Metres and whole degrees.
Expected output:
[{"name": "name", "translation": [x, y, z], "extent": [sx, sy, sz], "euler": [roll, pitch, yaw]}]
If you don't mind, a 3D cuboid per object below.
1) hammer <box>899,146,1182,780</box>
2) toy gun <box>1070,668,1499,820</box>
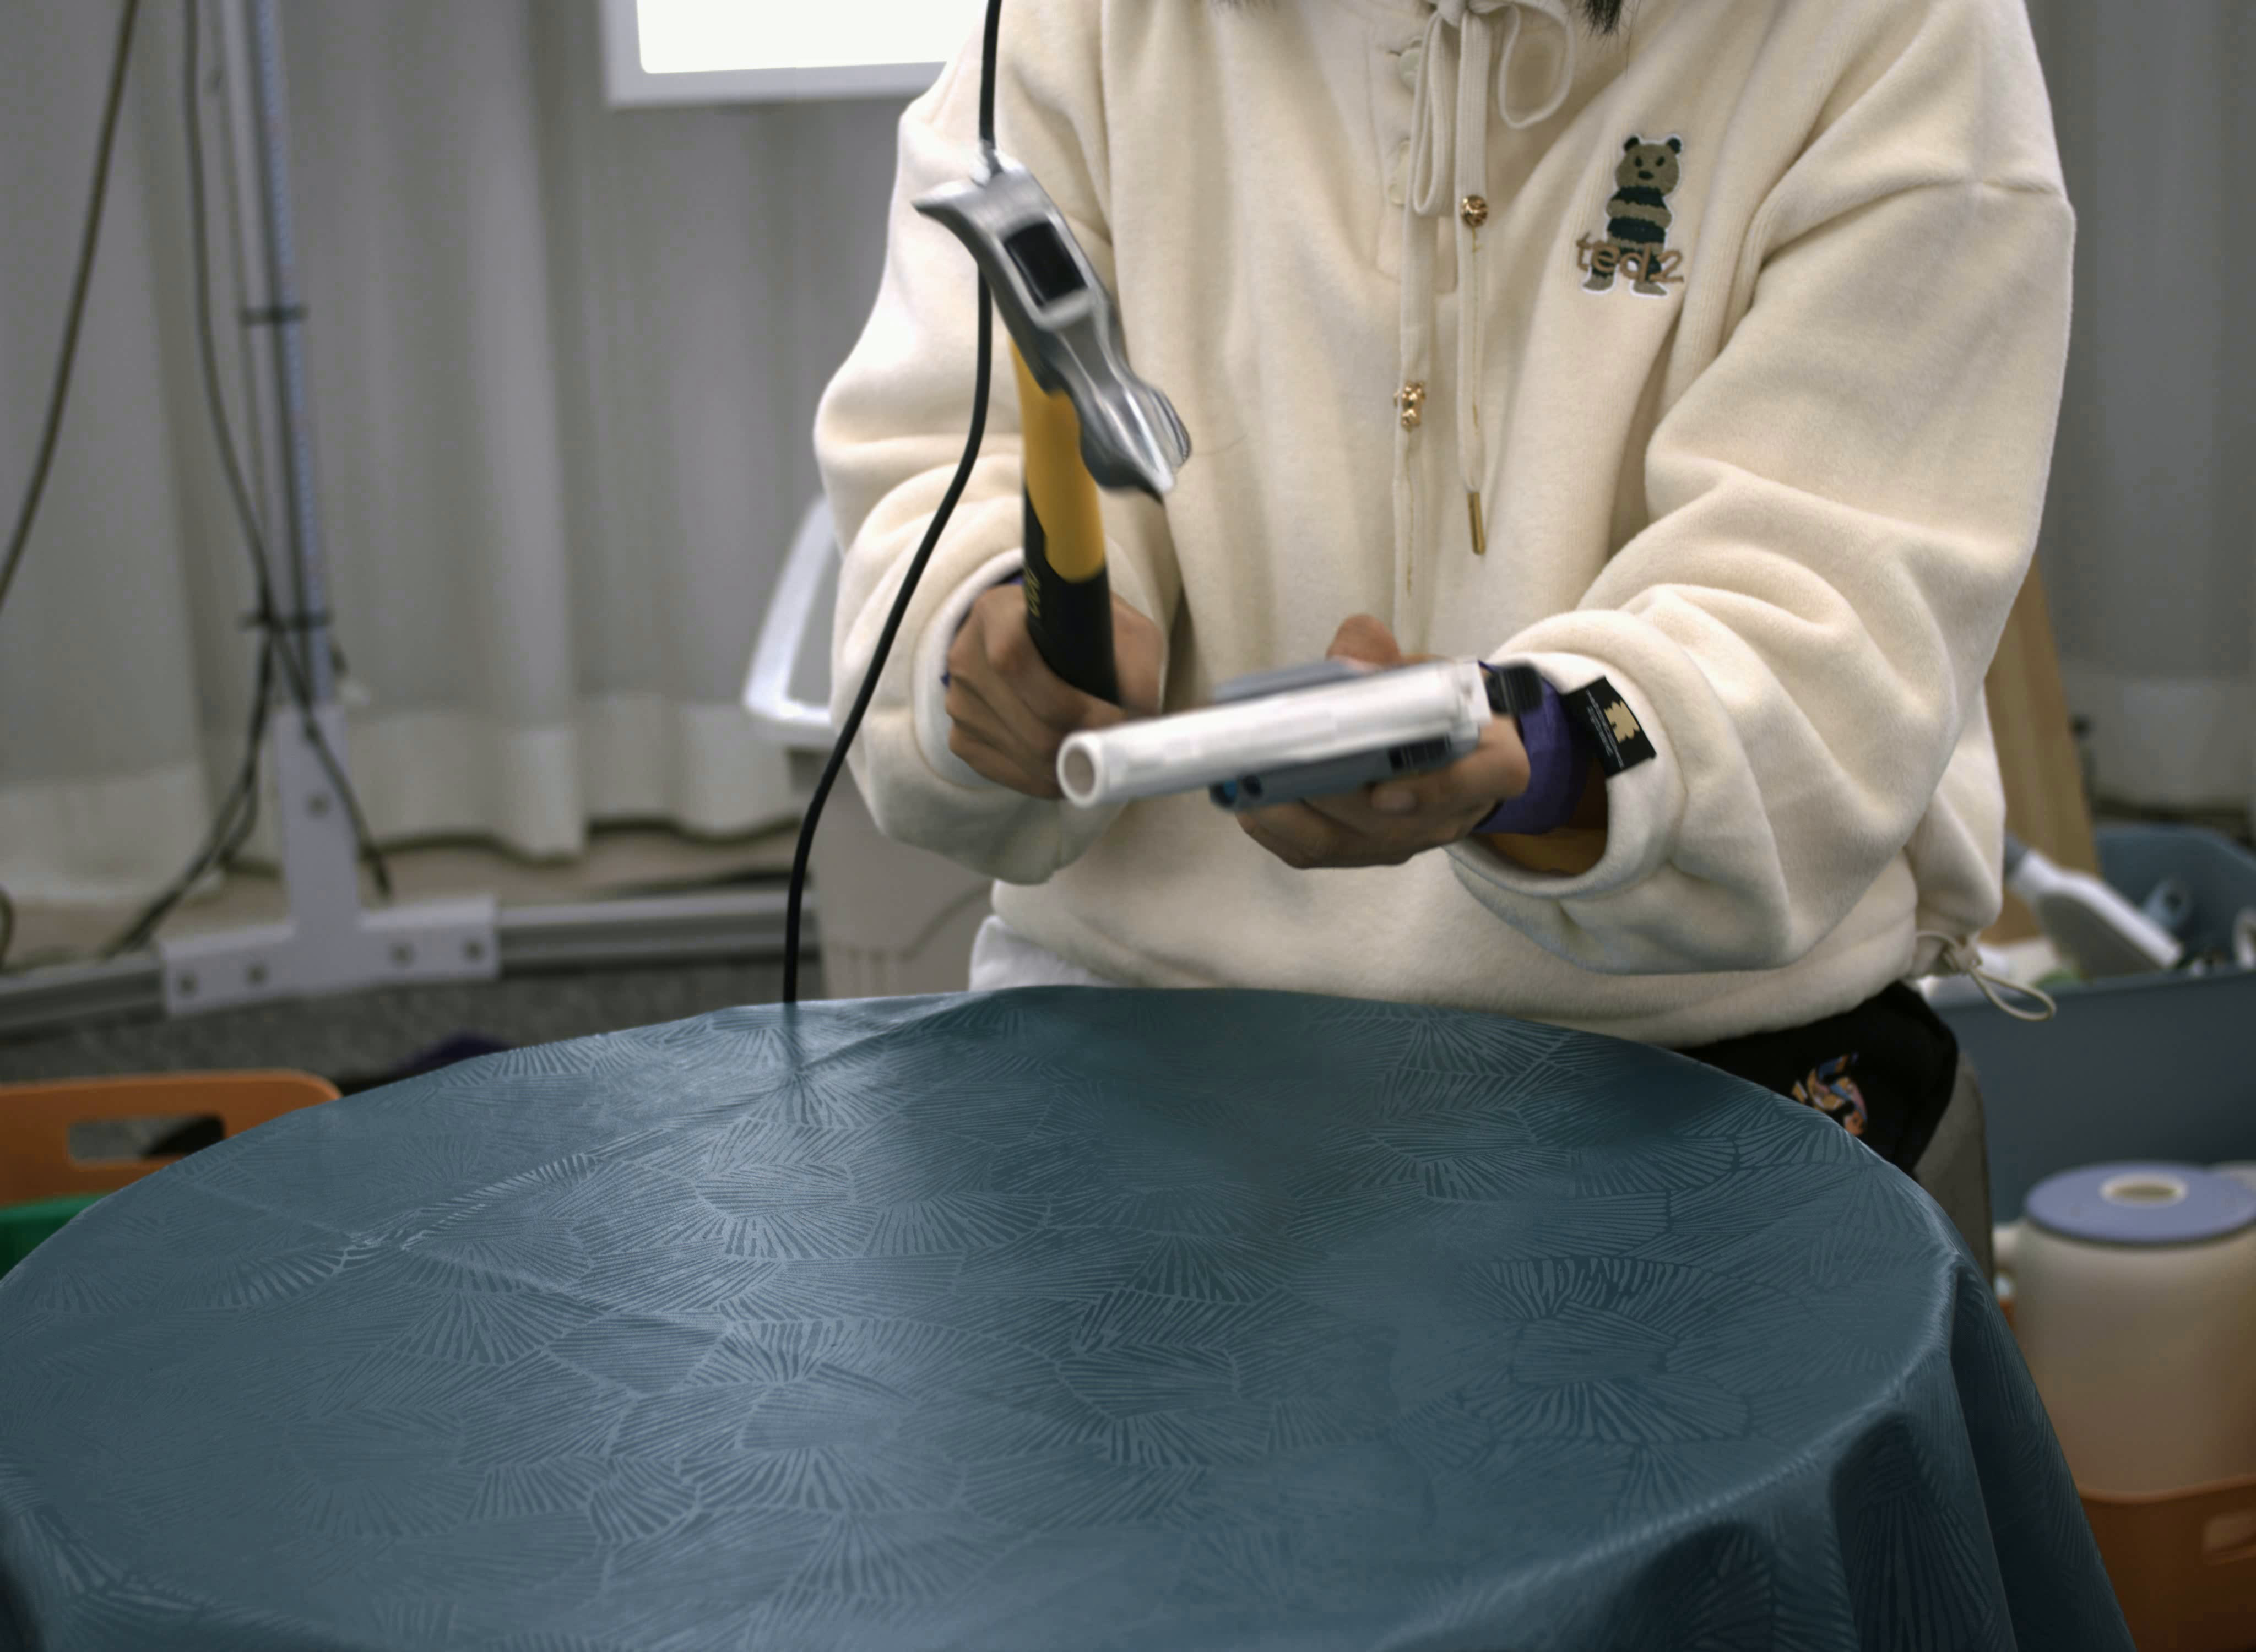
[{"name": "hammer", "translation": [-0.019, -0.098, 1.718], "extent": [0.032, 0.133, 0.335], "euler": [-27, -23, -9]}, {"name": "toy gun", "translation": [0.036, -0.021, 1.568], "extent": [0.208, 0.039, 0.141], "euler": [-9, -2, -41]}]
